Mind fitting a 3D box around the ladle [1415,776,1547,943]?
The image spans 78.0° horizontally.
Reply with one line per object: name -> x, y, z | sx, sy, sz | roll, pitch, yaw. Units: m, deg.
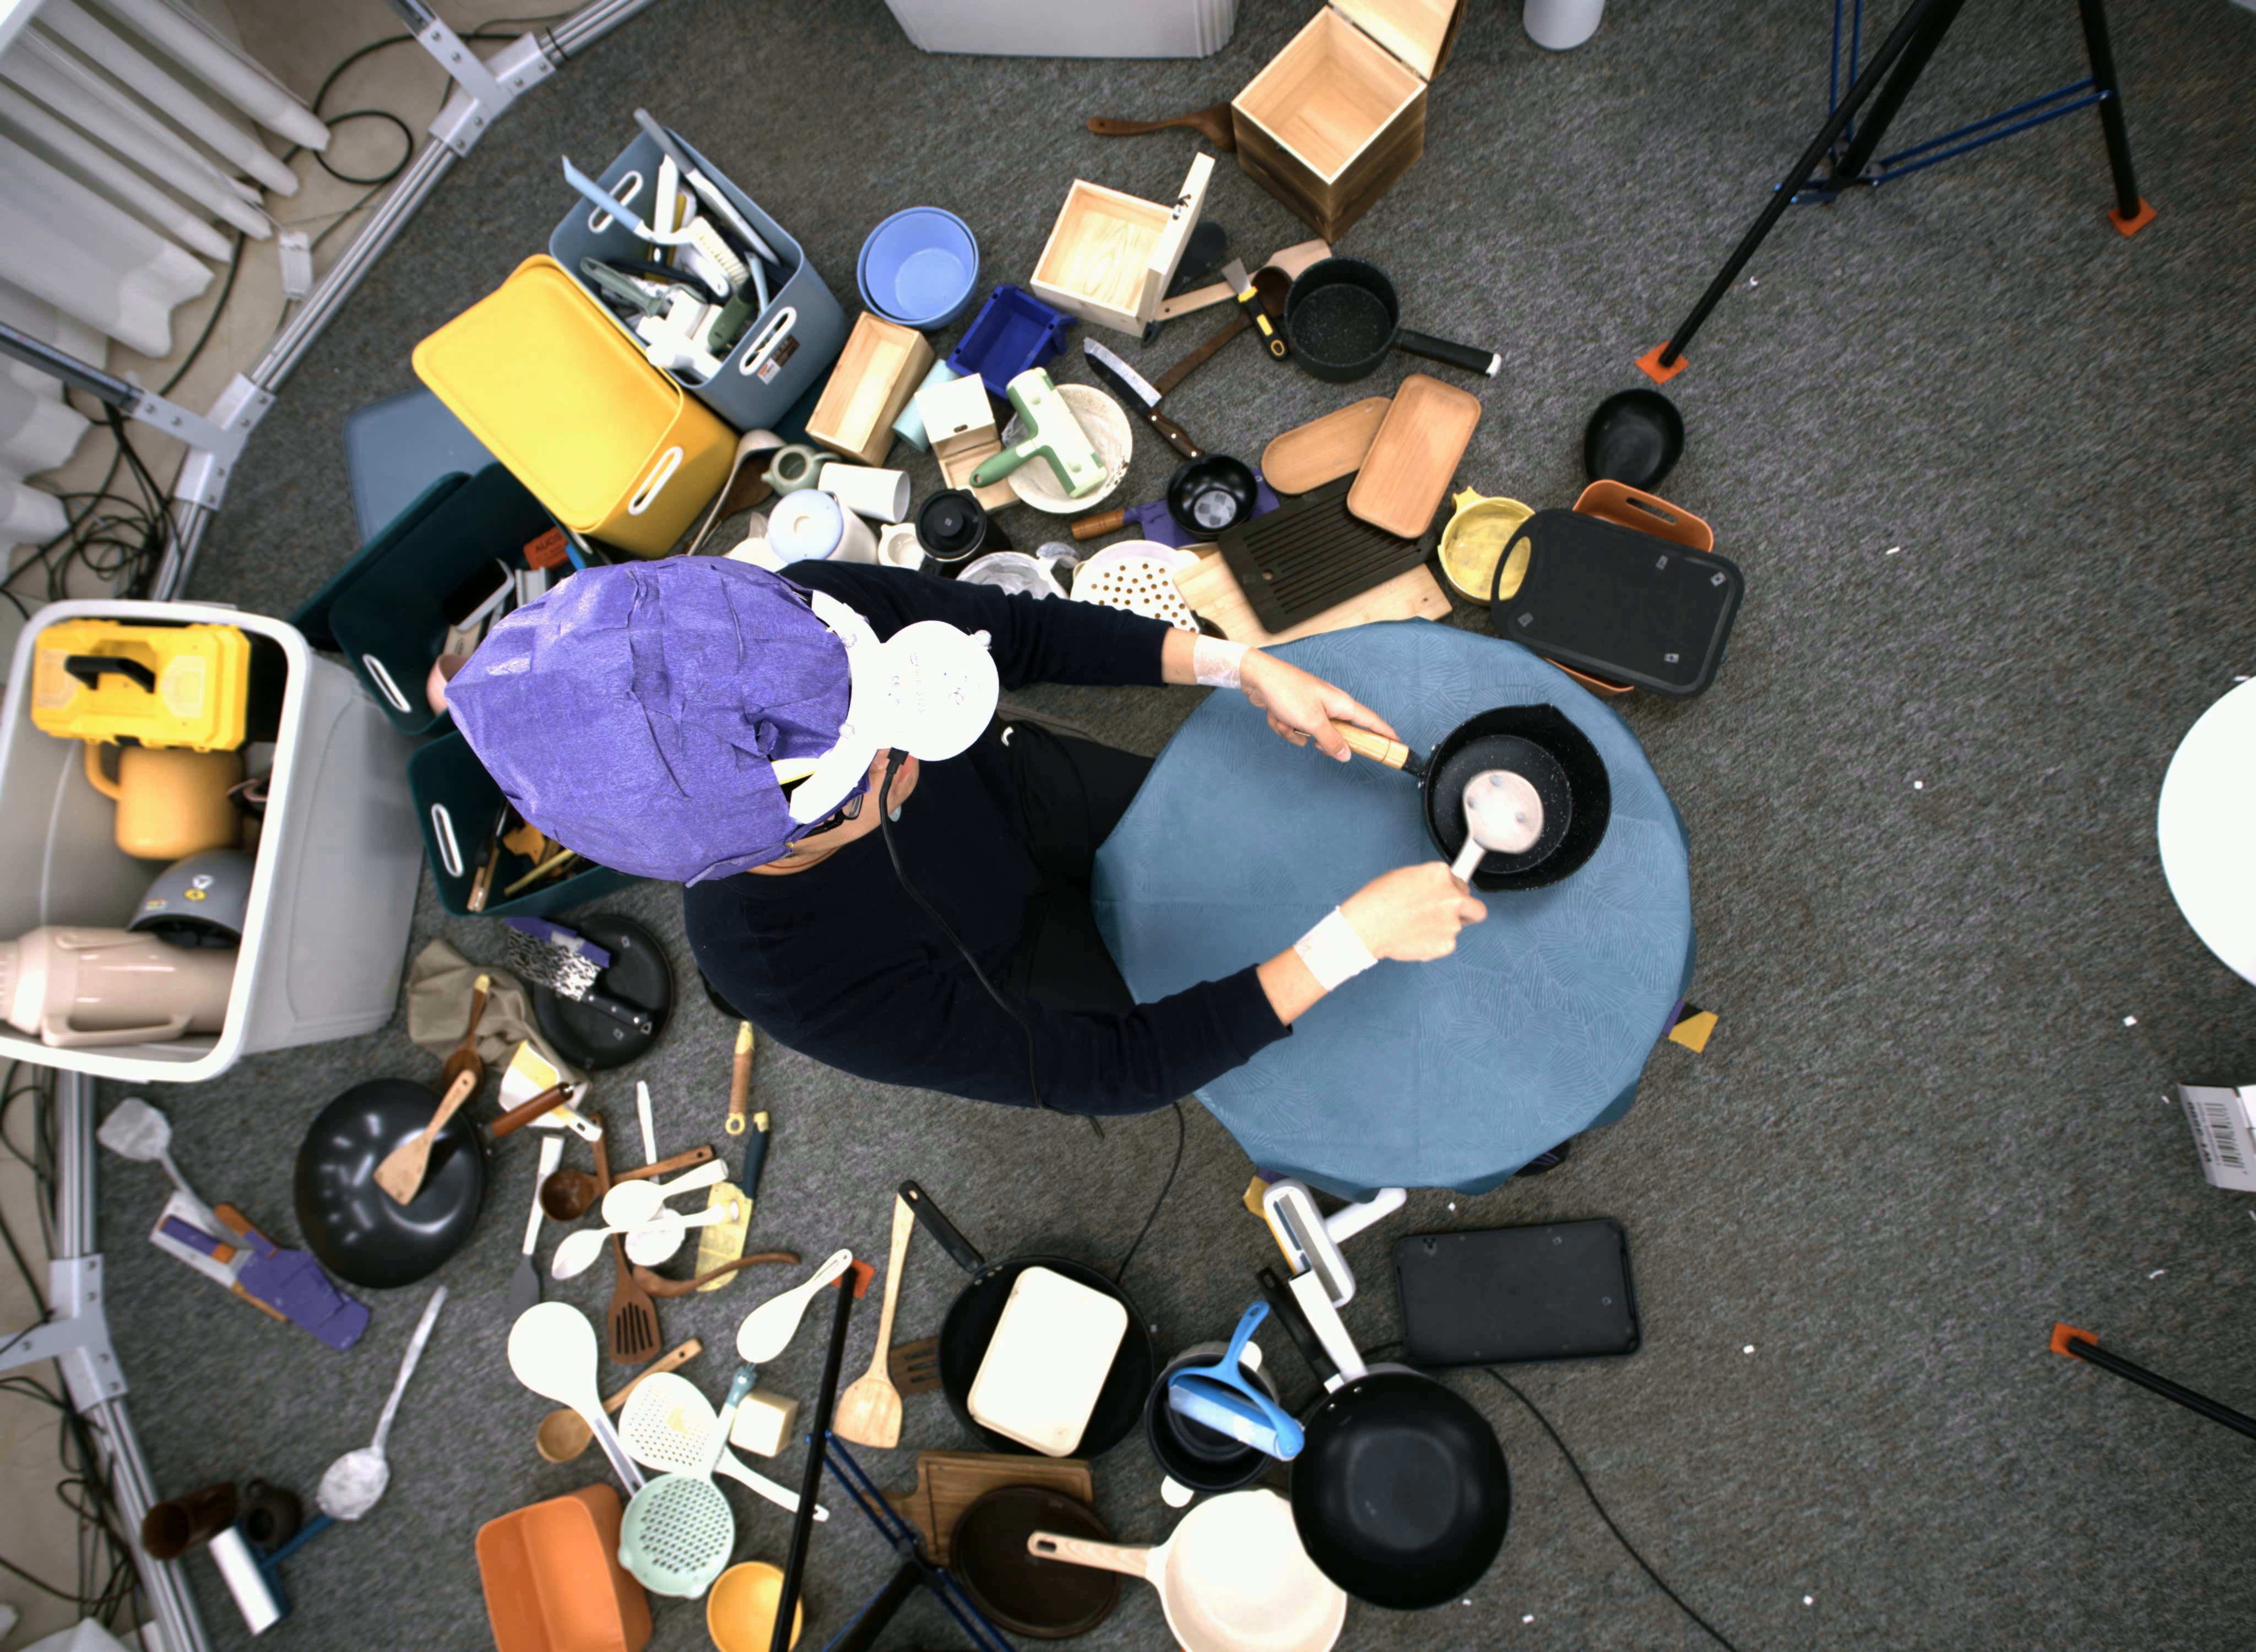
ladle -> 0.339, 0.030, 1.319 | 0.071, 0.269, 0.089 | -37, 93, 36

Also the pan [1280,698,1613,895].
pan -> 0.312, -0.053, 1.389 | 0.343, 0.108, 0.207 | 19, 91, 4
